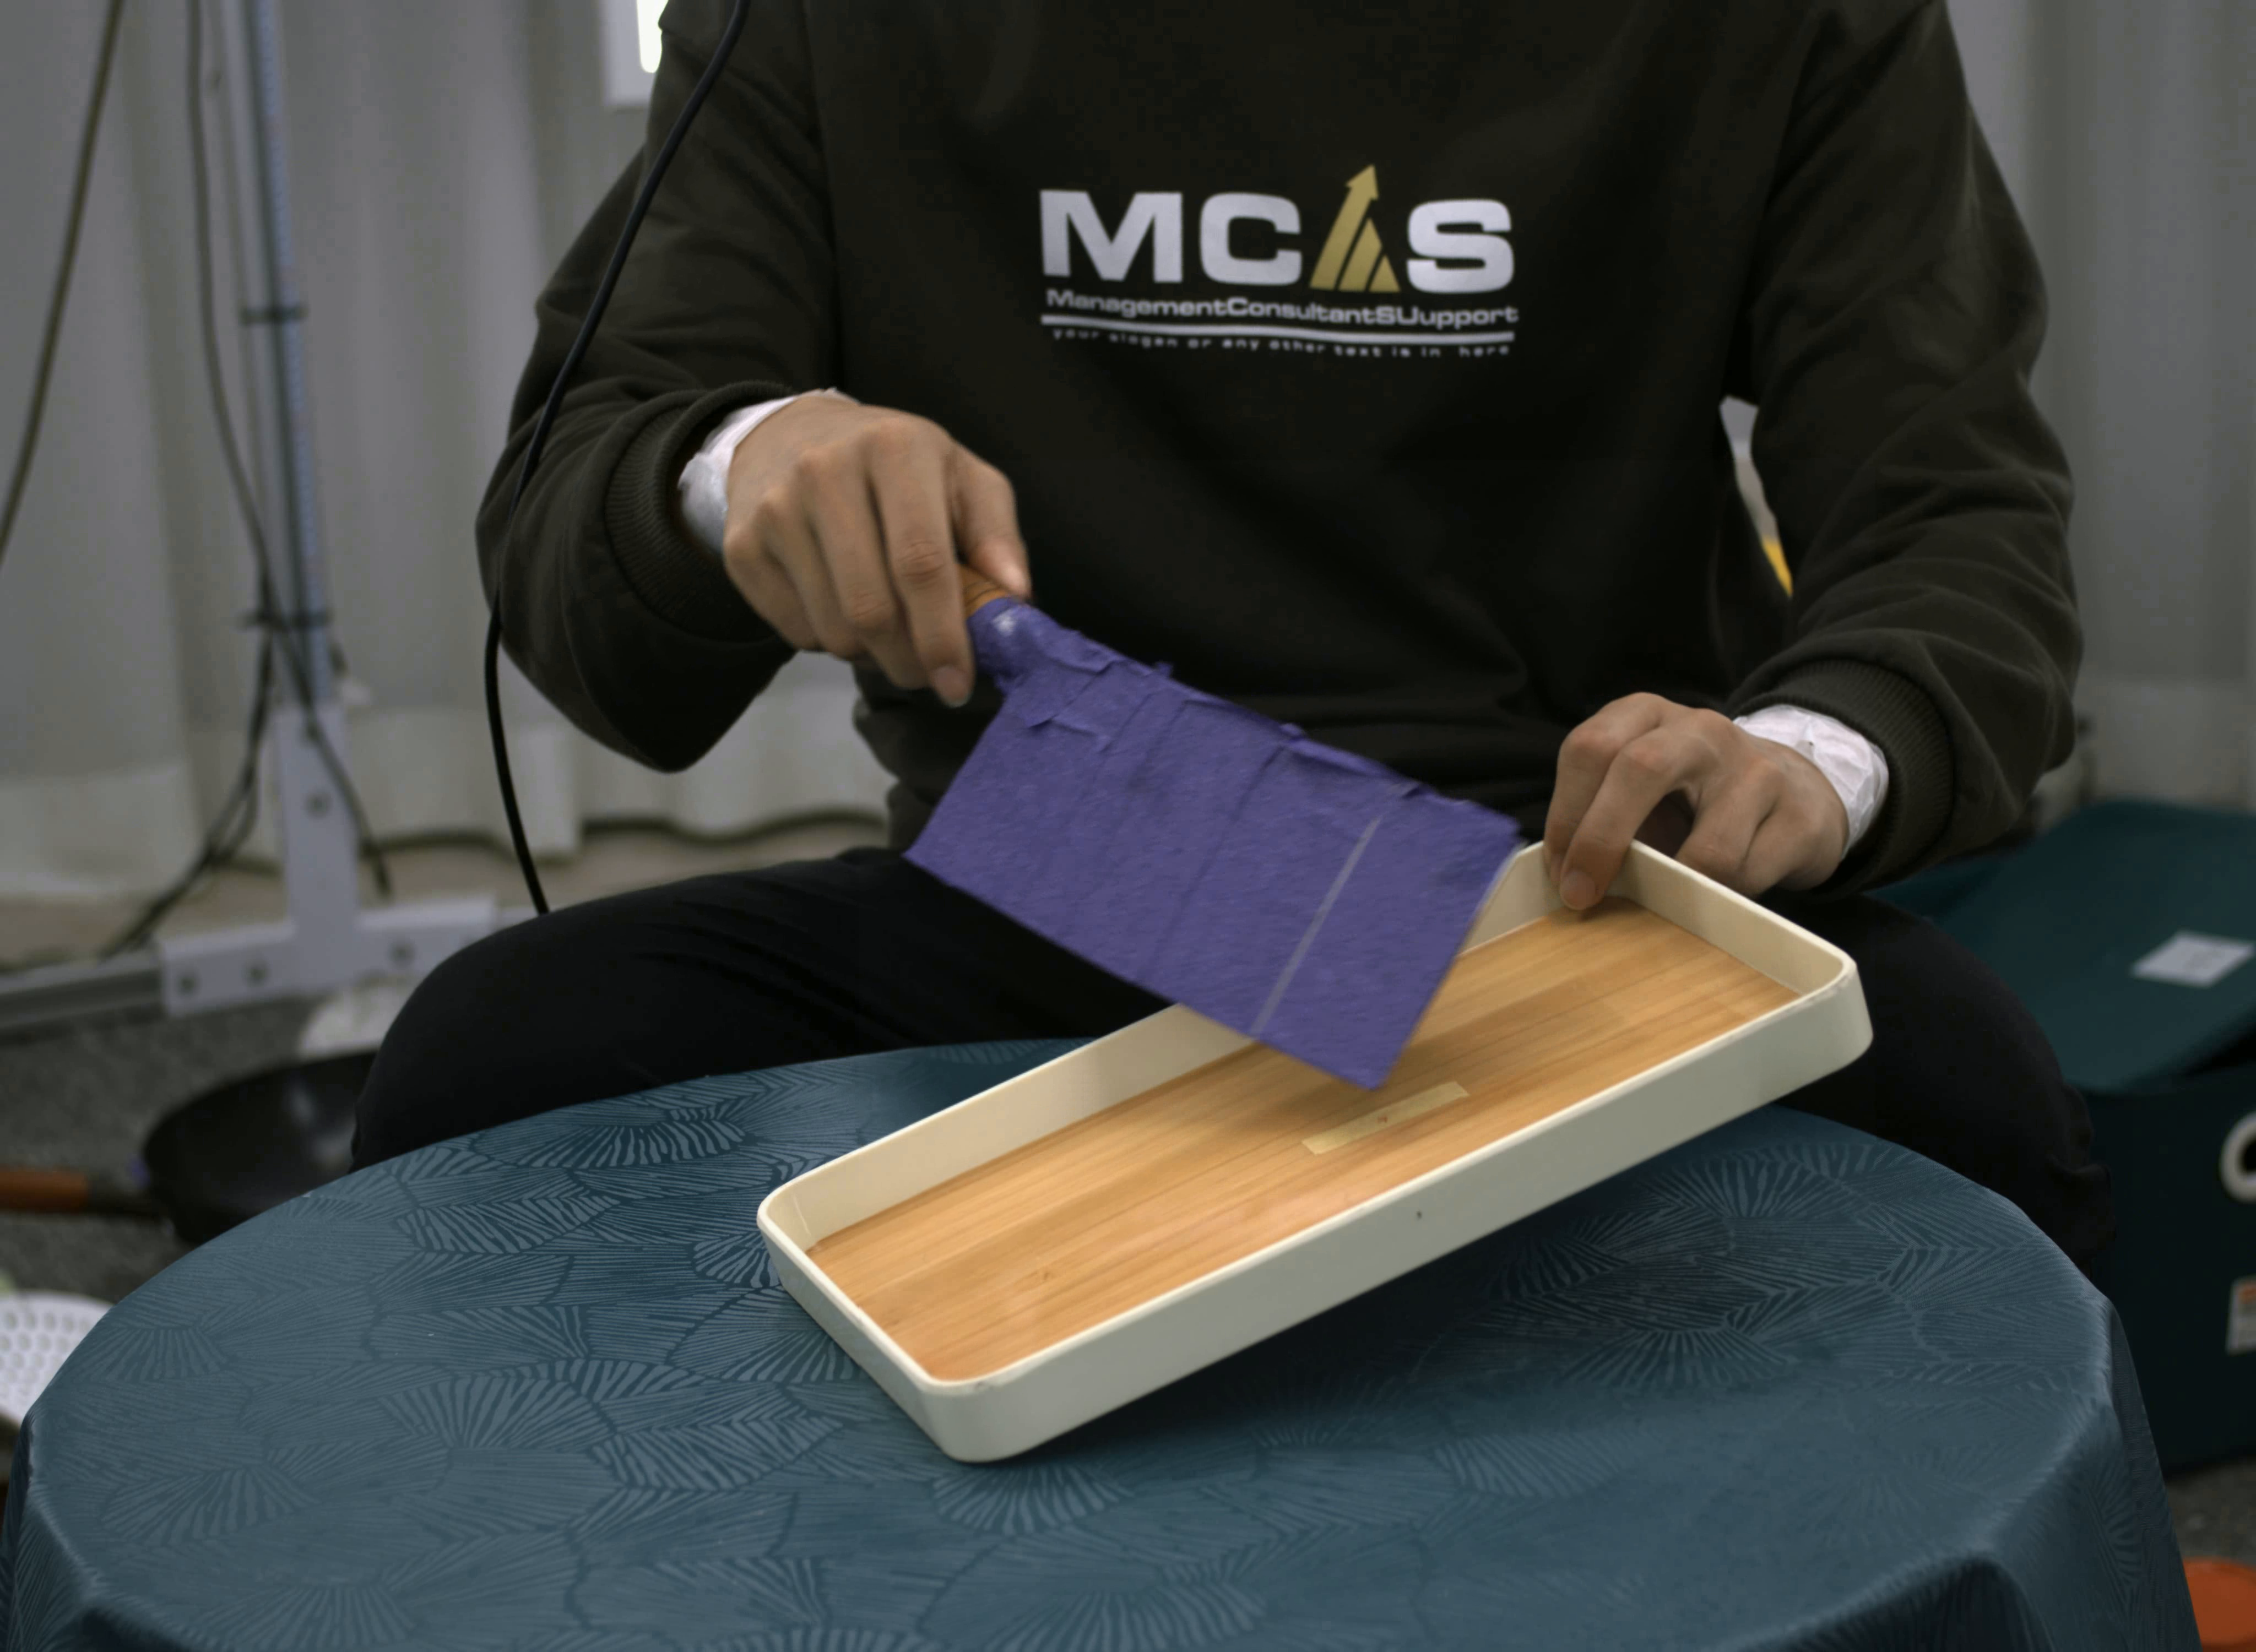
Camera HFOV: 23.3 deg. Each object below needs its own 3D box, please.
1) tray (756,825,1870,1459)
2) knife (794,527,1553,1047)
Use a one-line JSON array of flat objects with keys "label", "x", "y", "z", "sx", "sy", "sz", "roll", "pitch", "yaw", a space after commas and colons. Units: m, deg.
[{"label": "tray", "x": 0.051, "y": 0.087, "z": 1.606, "sx": 0.300, "sy": 0.027, "sz": 0.193, "roll": -24, "pitch": 20, "yaw": -14}, {"label": "knife", "x": -0.009, "y": -0.015, "z": 1.698, "sx": 0.318, "sy": 0.104, "sz": 0.032, "roll": 23, "pitch": -13, "yaw": 42}]
